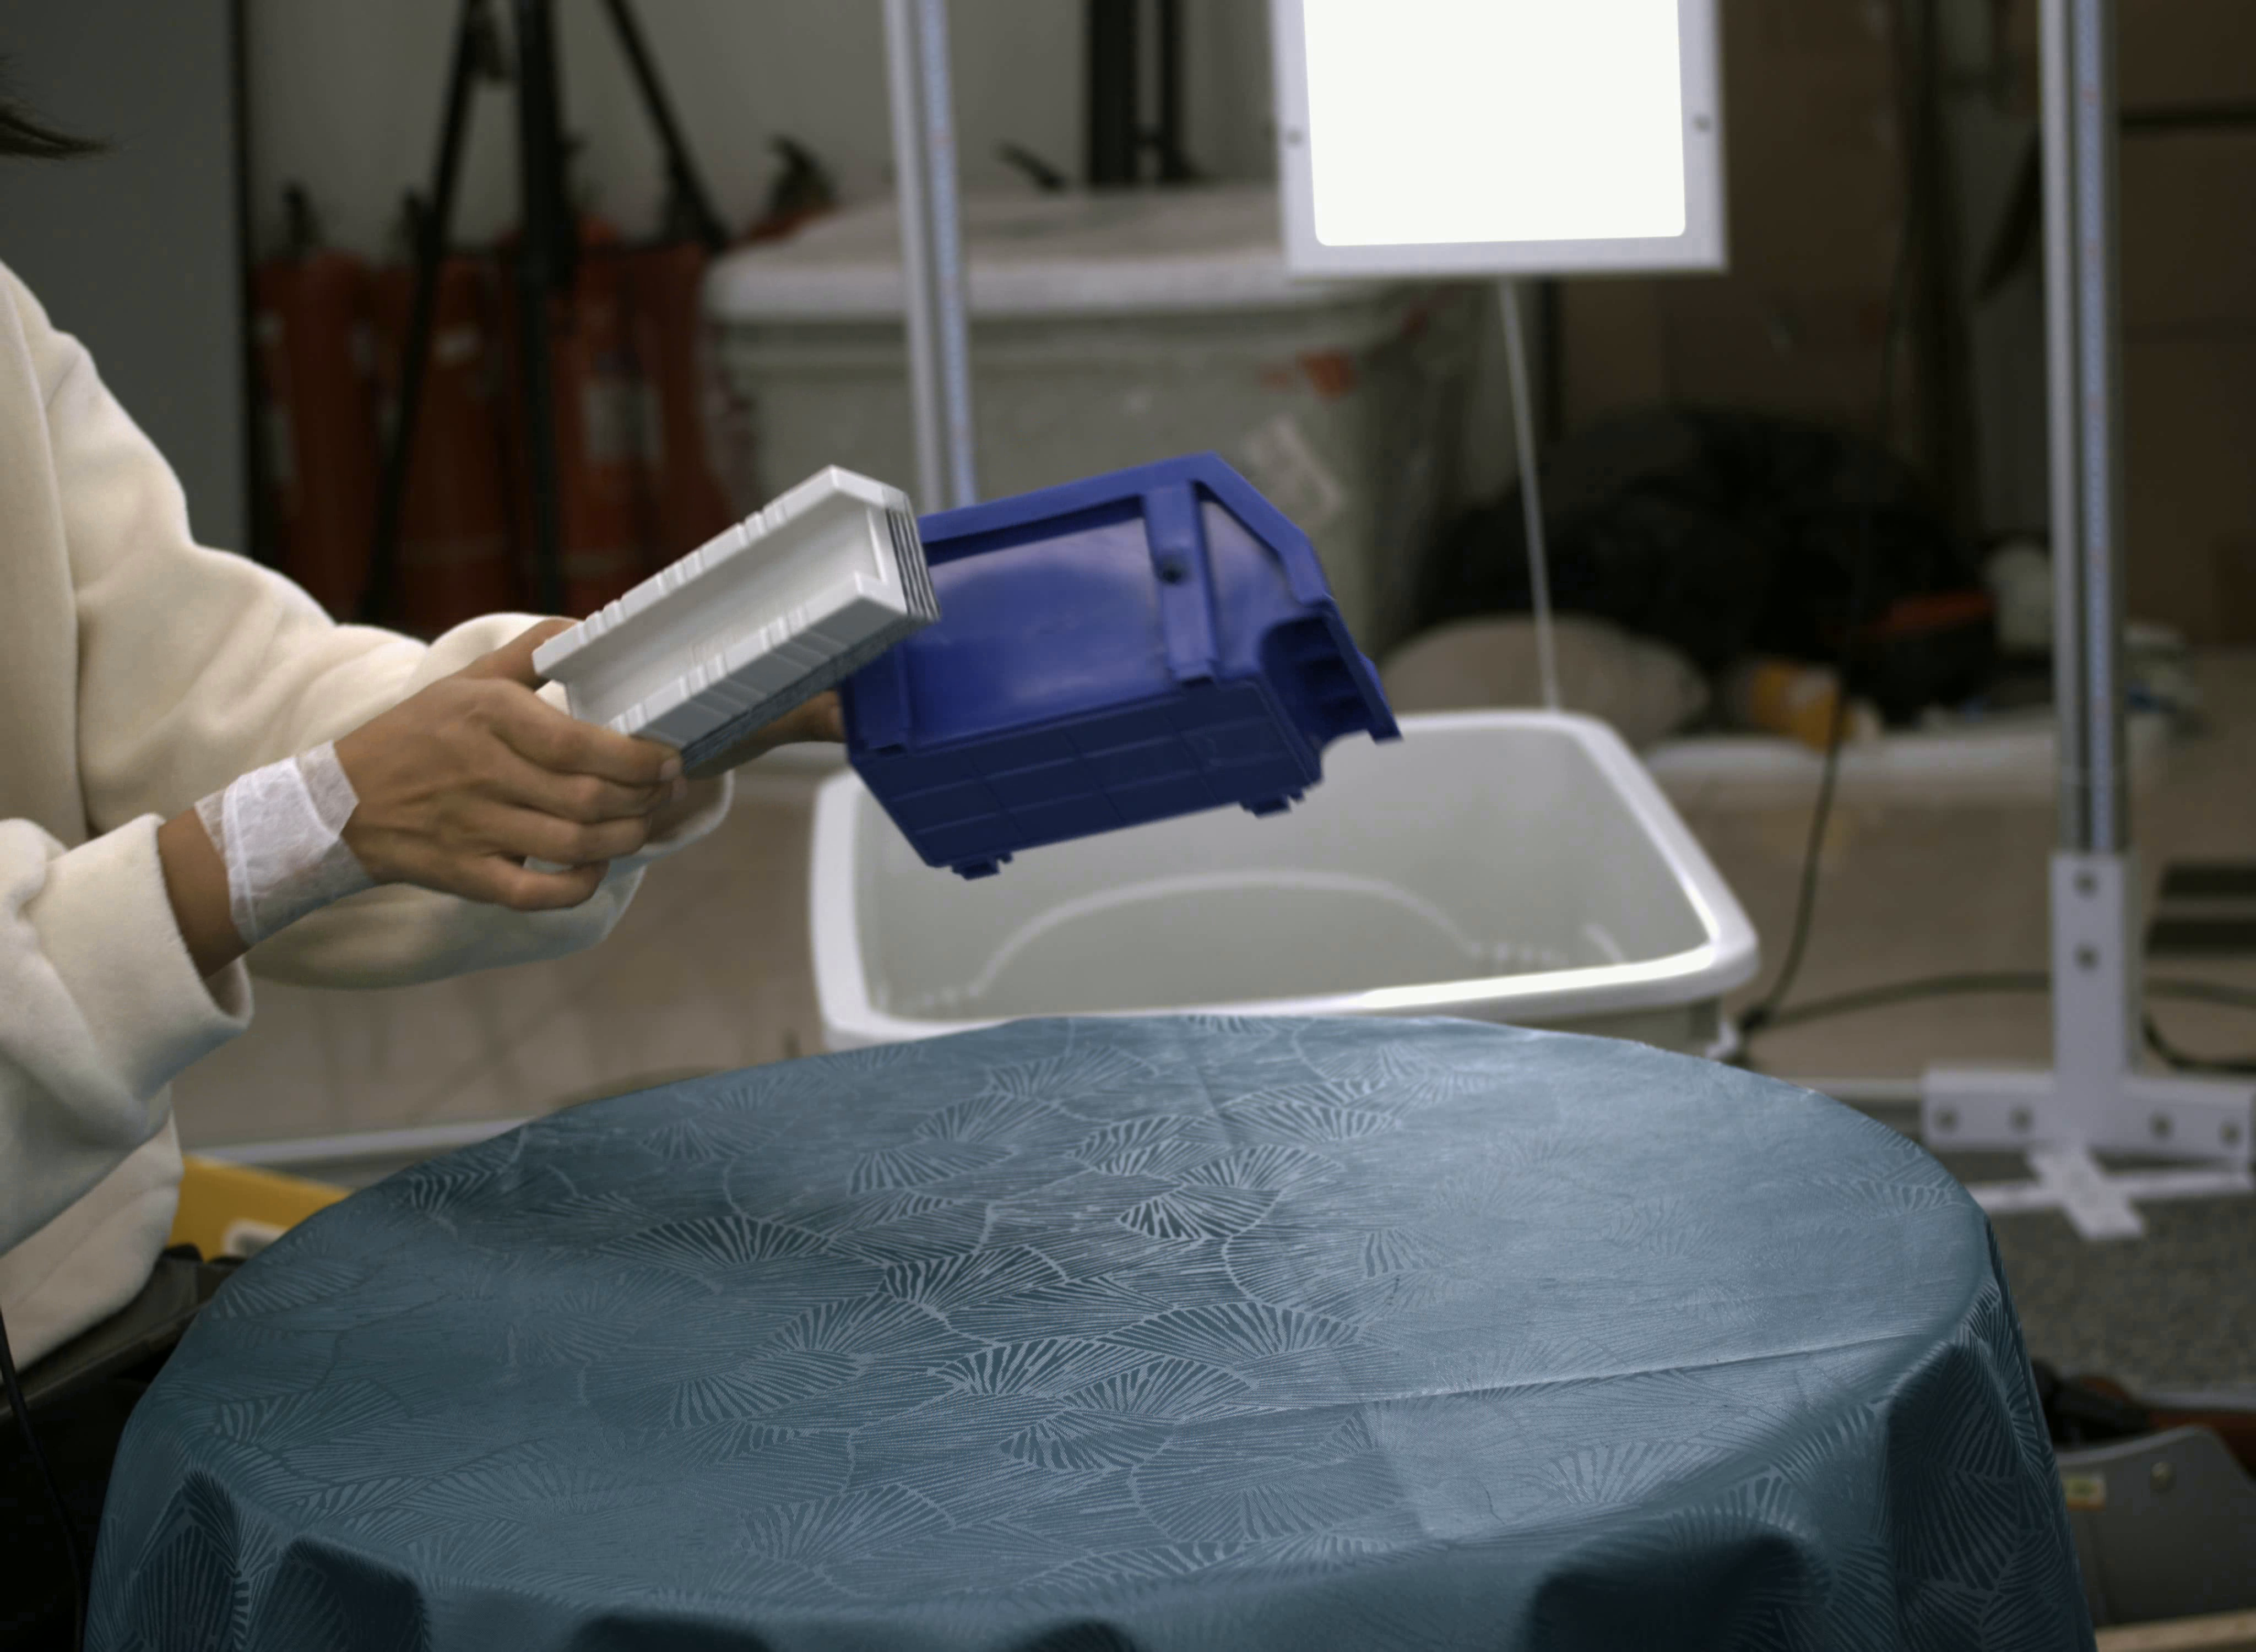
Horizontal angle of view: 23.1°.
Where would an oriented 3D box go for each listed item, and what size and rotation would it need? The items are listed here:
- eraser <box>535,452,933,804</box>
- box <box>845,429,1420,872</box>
[{"bbox_3d":[-0.127,-0.062,1.769,0.137,0.050,0.045,-33,-30,30],"label":"eraser"},{"bbox_3d":[-0.004,-0.058,1.842,0.181,0.082,0.123,-16,-25,13],"label":"box"}]
